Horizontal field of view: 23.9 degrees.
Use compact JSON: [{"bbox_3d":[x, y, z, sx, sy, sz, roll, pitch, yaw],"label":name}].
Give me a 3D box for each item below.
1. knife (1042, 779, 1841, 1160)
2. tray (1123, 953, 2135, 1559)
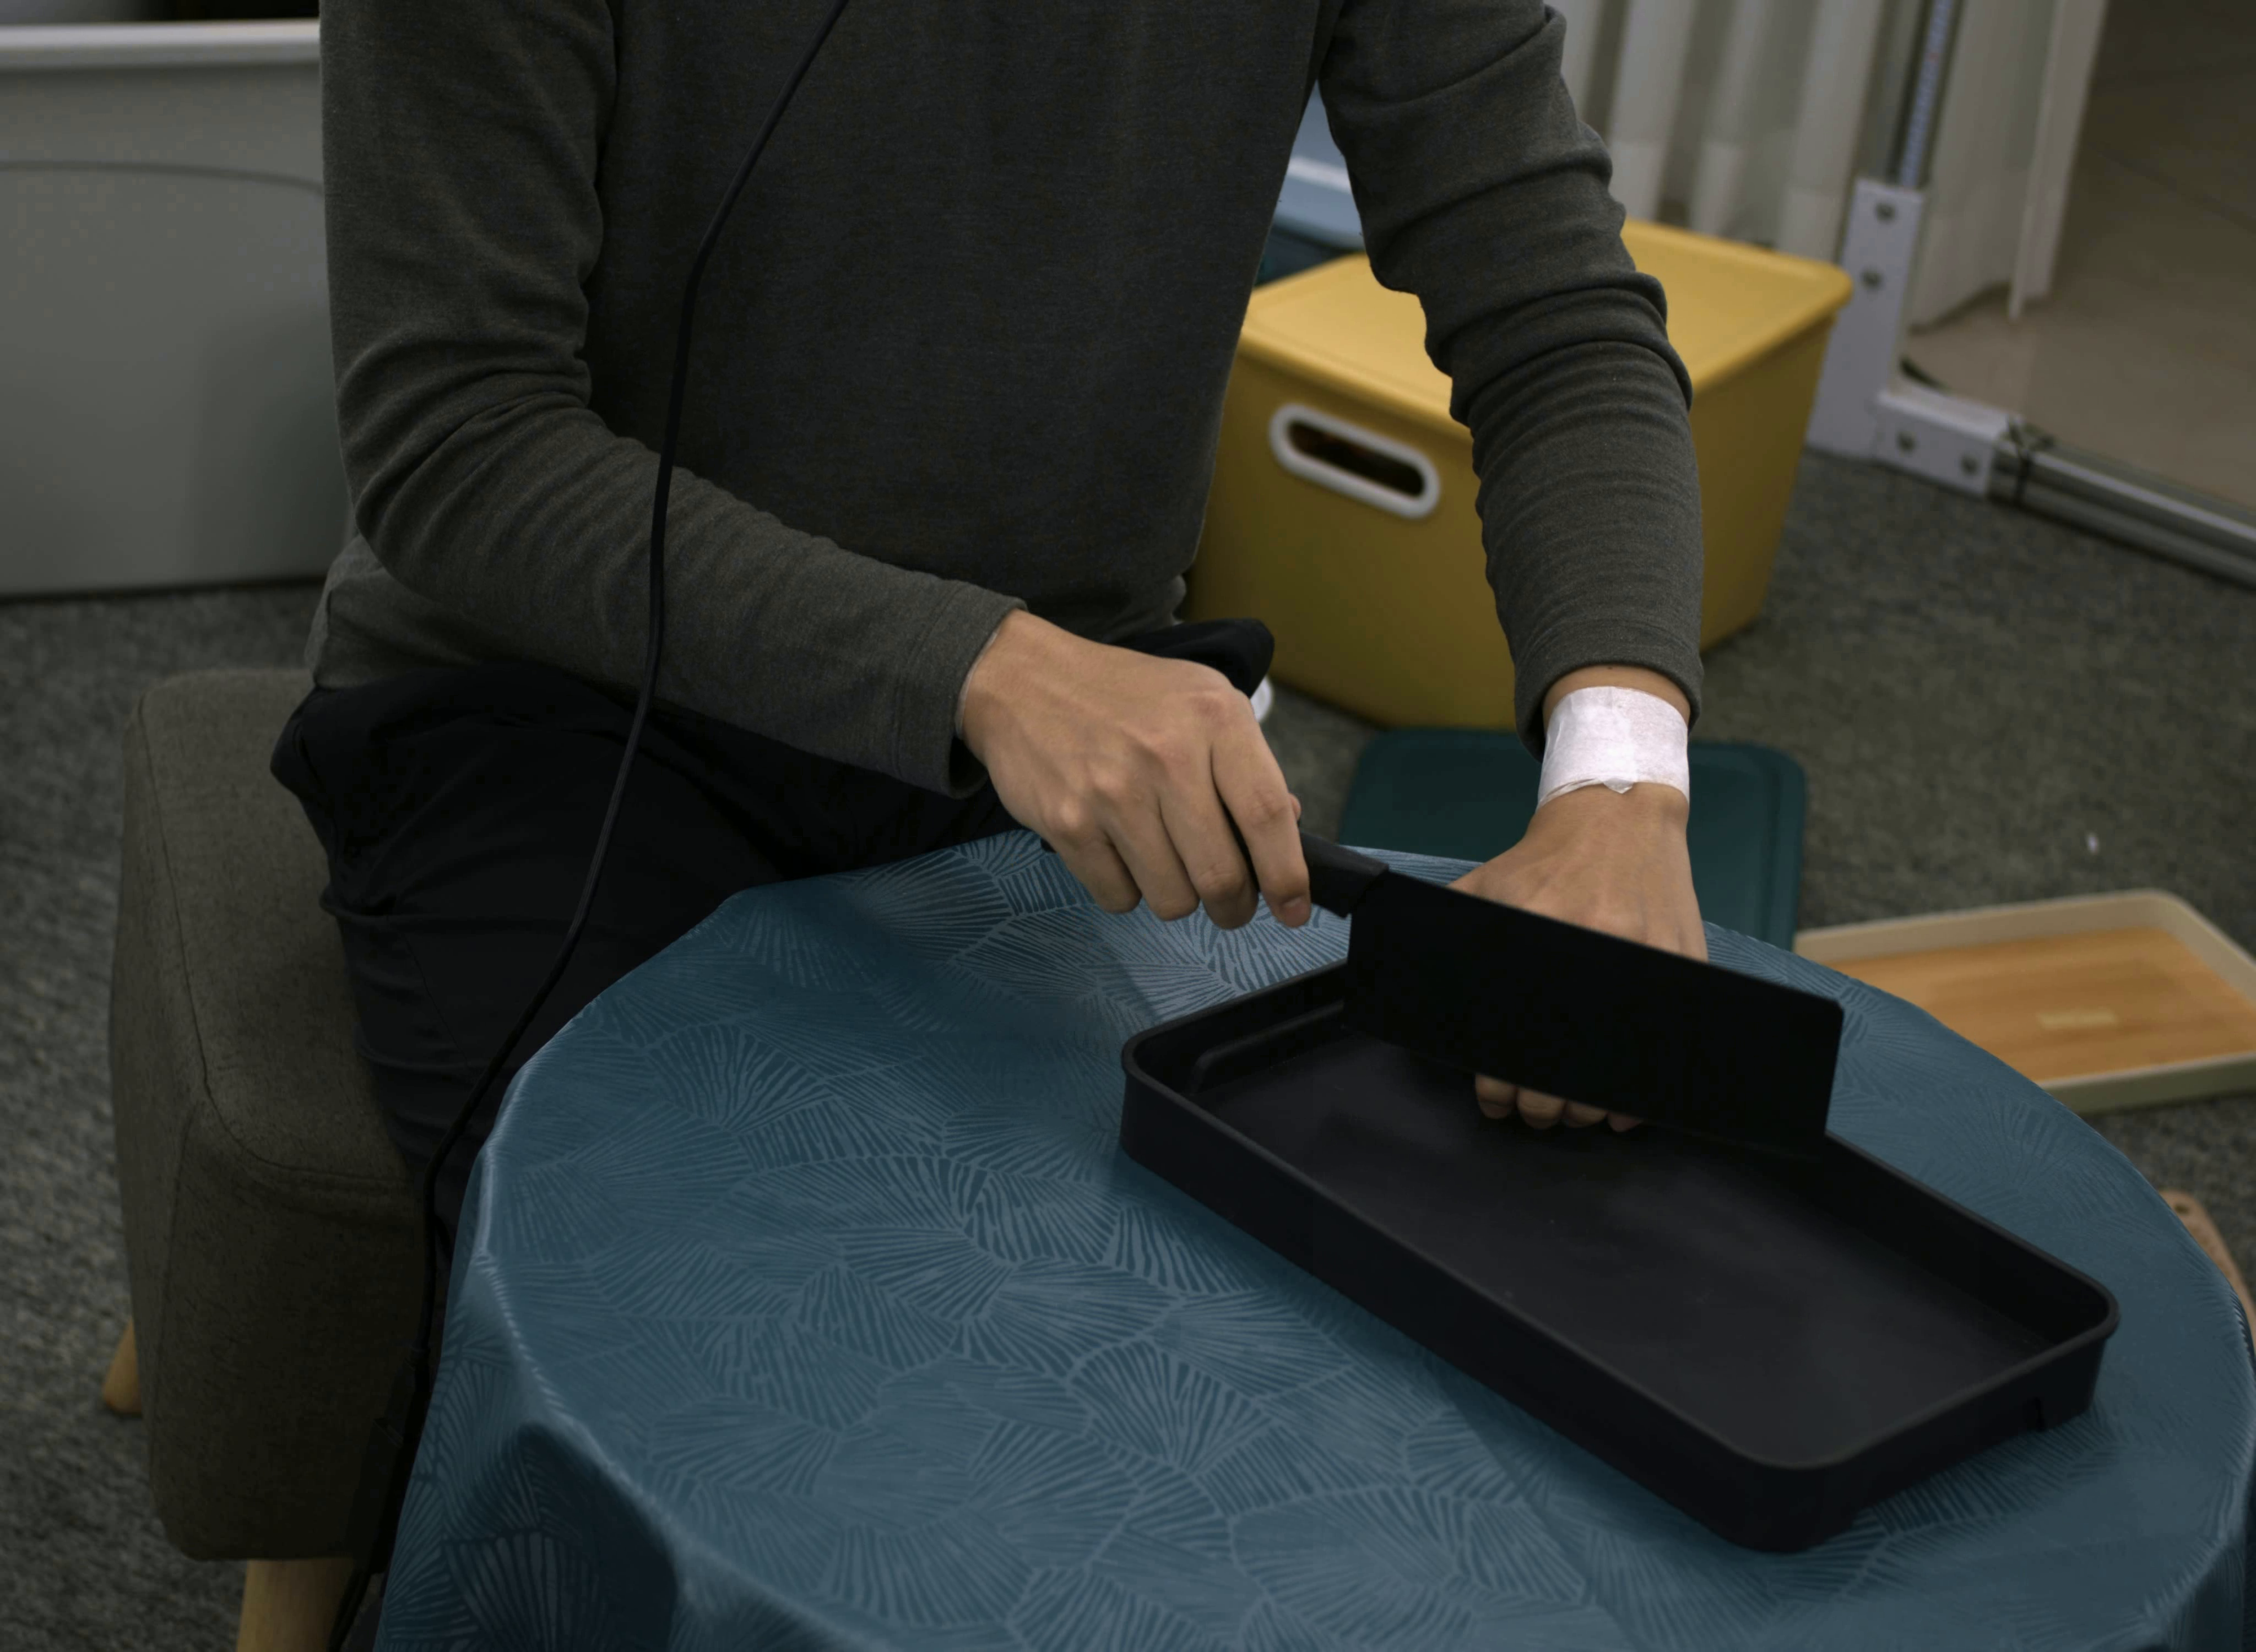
[{"bbox_3d":[0.104,0.046,1.839,0.303,0.081,0.021,21,27,22],"label":"knife"},{"bbox_3d":[0.162,0.133,1.783,0.183,0.037,0.320,-19,36,-41],"label":"tray"}]
